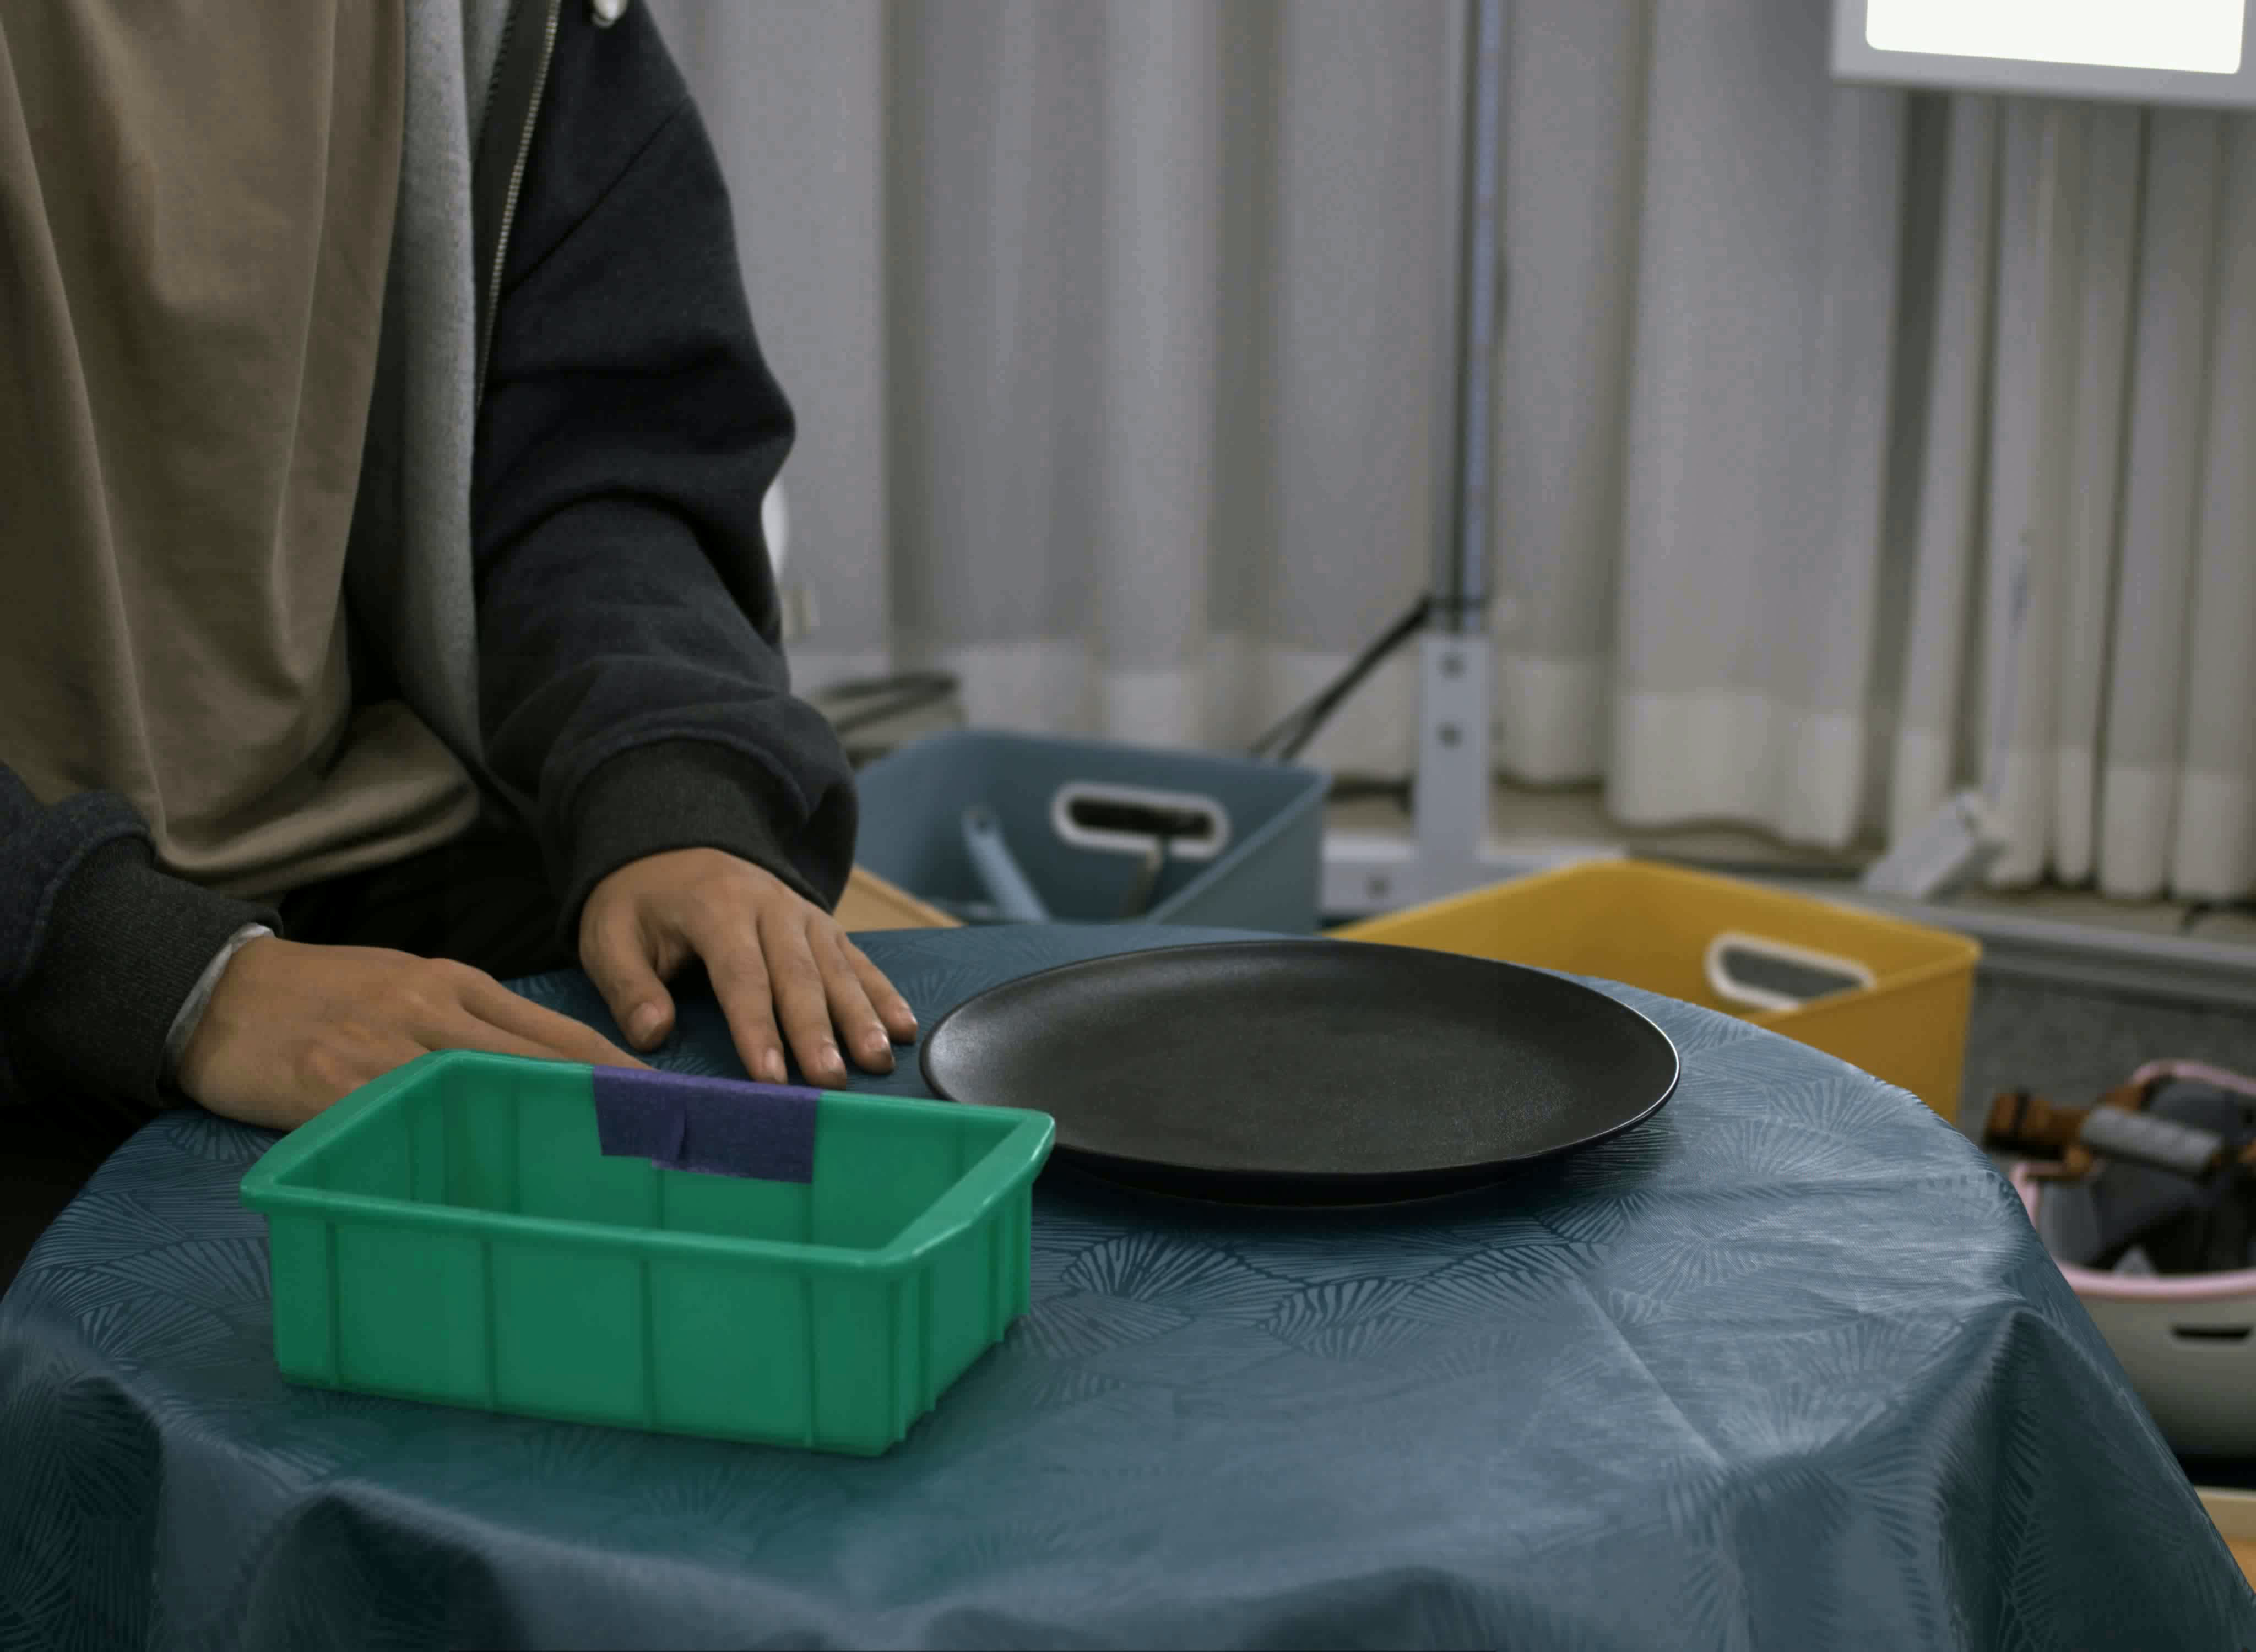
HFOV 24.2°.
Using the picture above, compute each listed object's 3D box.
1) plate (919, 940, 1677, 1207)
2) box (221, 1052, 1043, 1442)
[{"bbox_3d":[0.054,0.082,1.692,0.243,0.023,0.243,1,16,0],"label":"plate"},{"bbox_3d":[-0.136,0.118,1.479,0.209,0.066,0.139,3,14,16],"label":"box"}]
